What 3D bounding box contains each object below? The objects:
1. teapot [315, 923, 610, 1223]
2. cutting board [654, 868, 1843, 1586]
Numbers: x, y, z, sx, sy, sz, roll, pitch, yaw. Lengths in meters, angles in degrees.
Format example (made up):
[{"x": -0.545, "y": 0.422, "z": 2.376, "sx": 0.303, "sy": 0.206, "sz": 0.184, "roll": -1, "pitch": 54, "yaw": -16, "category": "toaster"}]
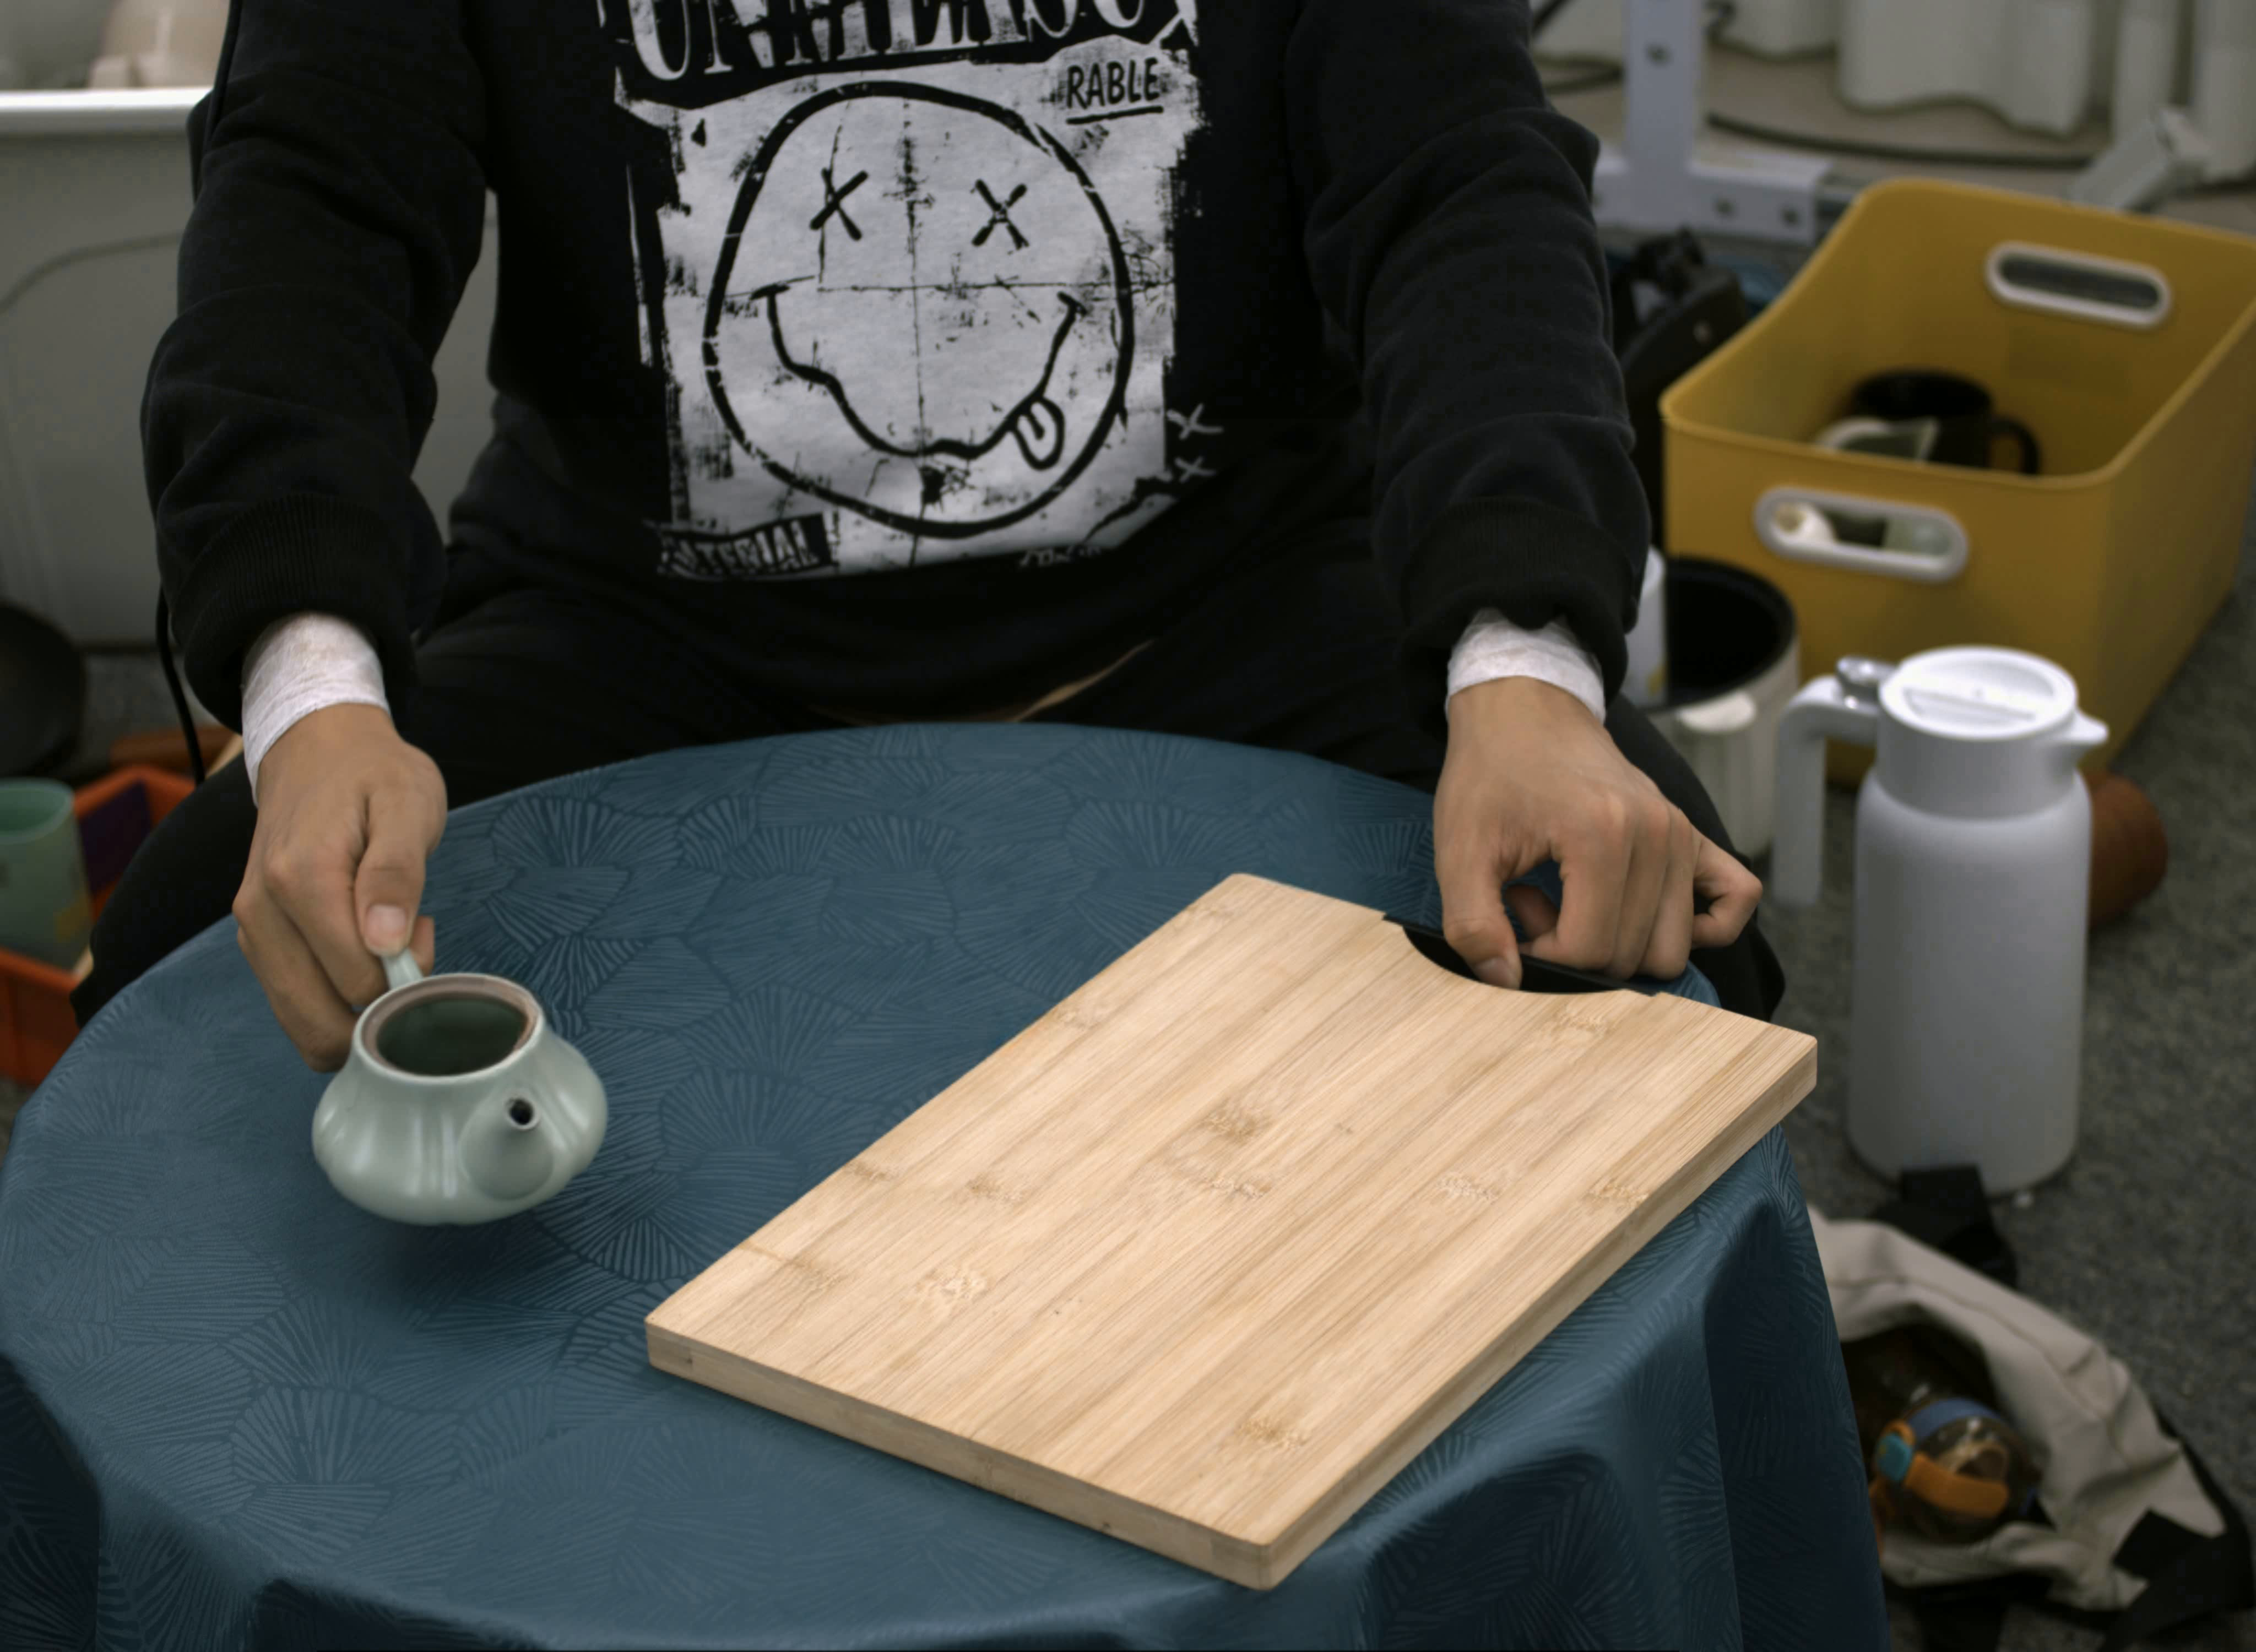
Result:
[{"x": -0.220, "y": 0.083, "z": 1.831, "sx": 0.097, "sy": 0.060, "sz": 0.138, "roll": -20, "pitch": 38, "yaw": -25, "category": "teapot"}, {"x": 0.043, "y": 0.120, "z": 1.839, "sx": 0.249, "sy": 0.023, "sz": 0.354, "roll": 15, "pitch": 32, "yaw": 30, "category": "cutting board"}]
